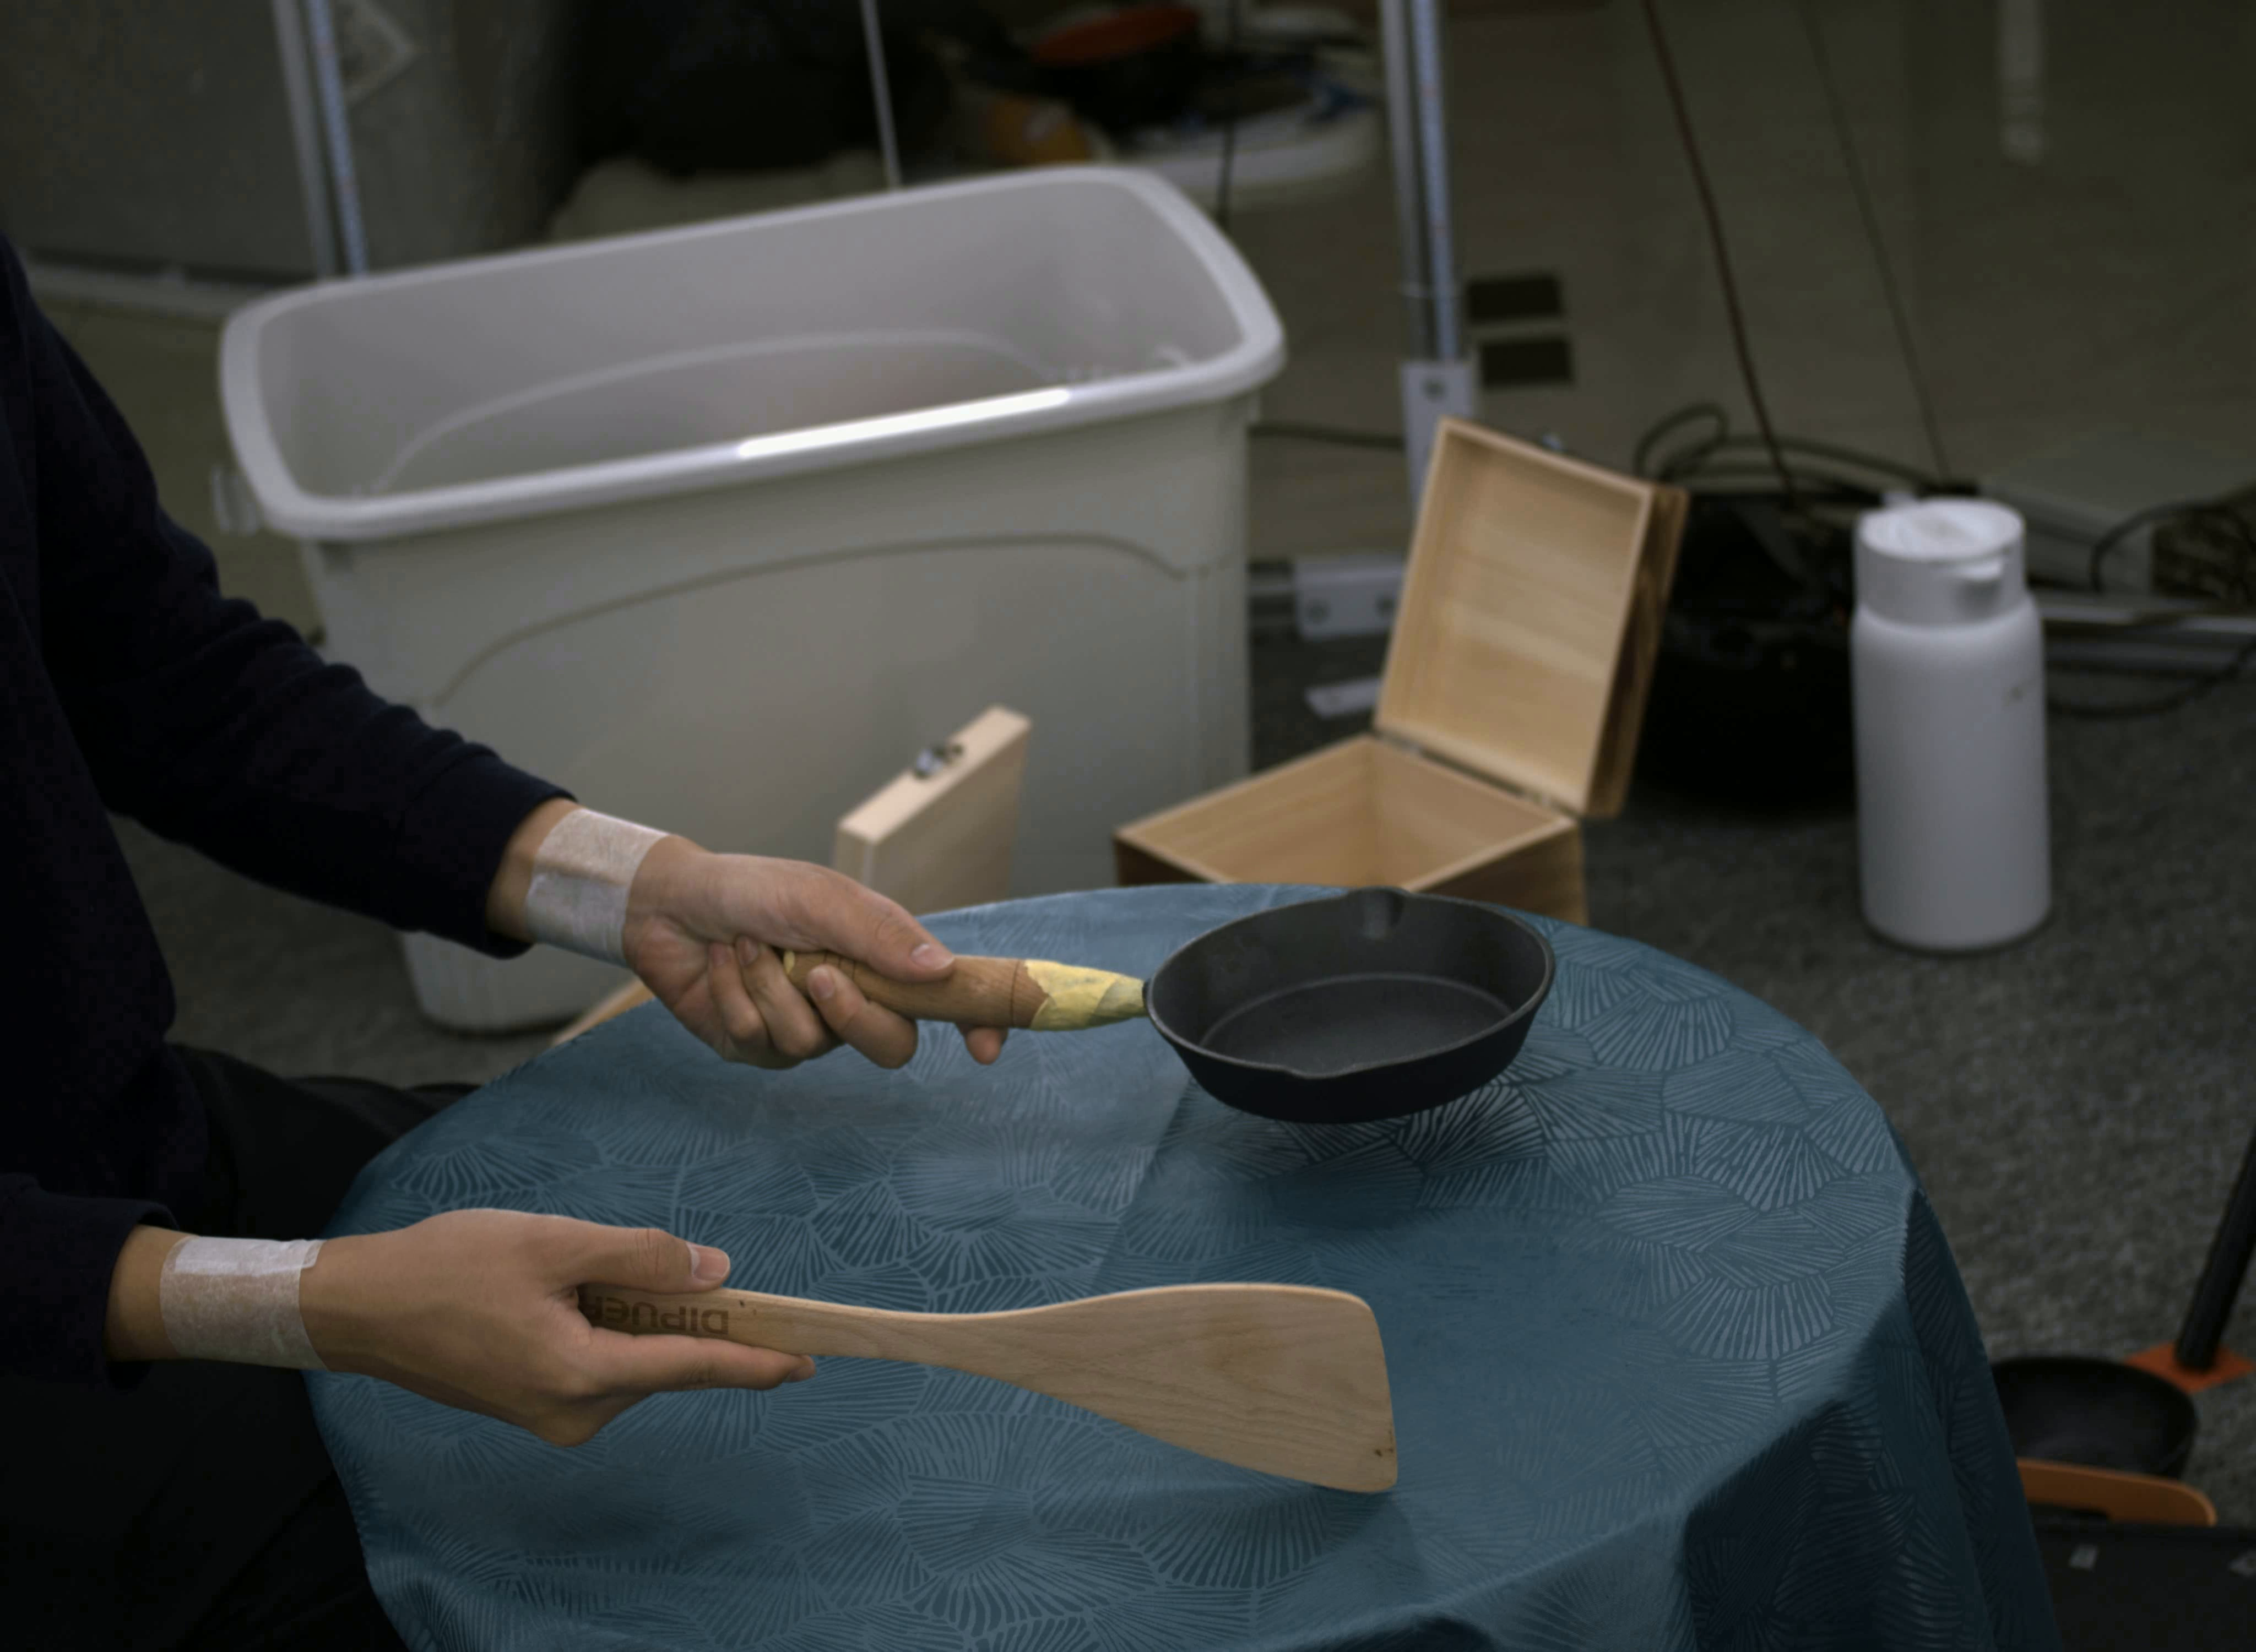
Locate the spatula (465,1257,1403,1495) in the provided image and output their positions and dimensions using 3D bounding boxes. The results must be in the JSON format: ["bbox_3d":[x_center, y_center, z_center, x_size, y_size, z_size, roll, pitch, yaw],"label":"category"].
[{"bbox_3d":[-0.066,0.176,1.934,0.327,0.081,0.016,6,30,5],"label":"spatula"}]

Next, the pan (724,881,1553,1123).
[{"bbox_3d":[0.003,0.065,2.179,0.323,0.050,0.166,0,24,13],"label":"pan"}]
